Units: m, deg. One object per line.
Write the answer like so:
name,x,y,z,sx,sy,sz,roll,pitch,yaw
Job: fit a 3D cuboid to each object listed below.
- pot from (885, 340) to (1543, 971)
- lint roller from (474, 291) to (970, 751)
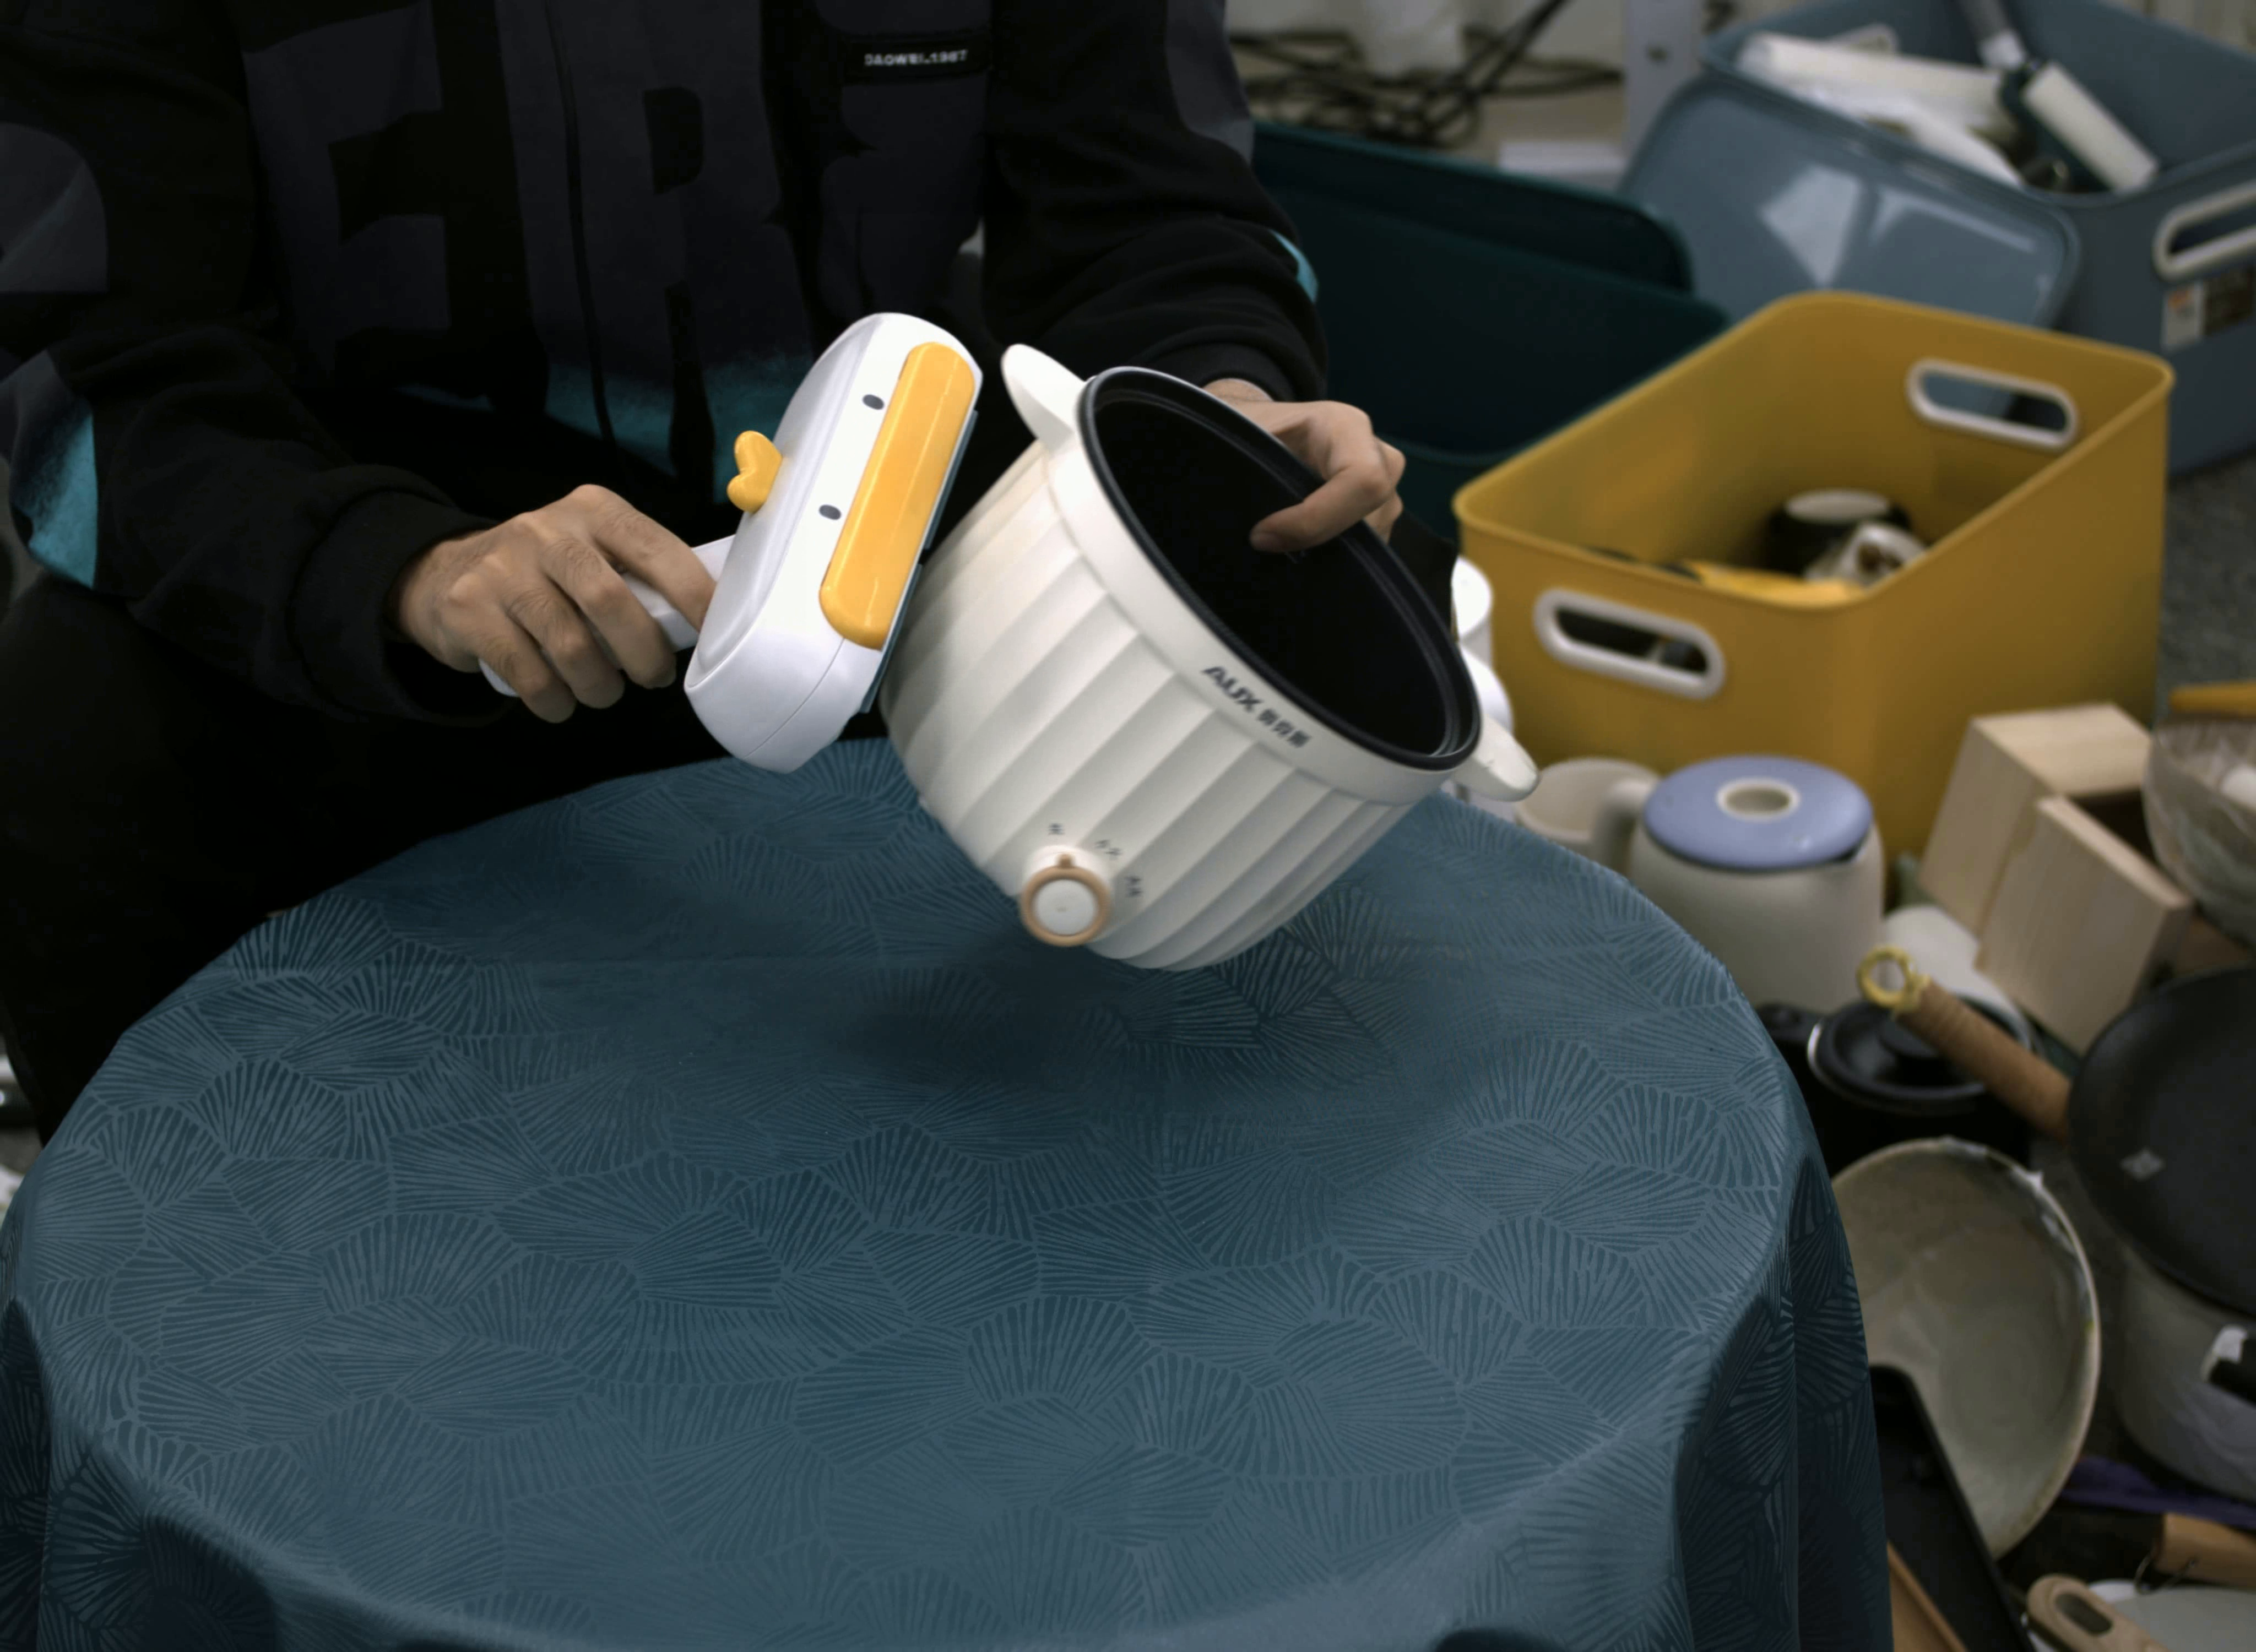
pot,0.013,-0.043,1.917,0.239,0.141,0.193,37,20,-16
lint roller,-0.143,-0.082,1.932,0.189,0.074,0.197,-33,32,33
